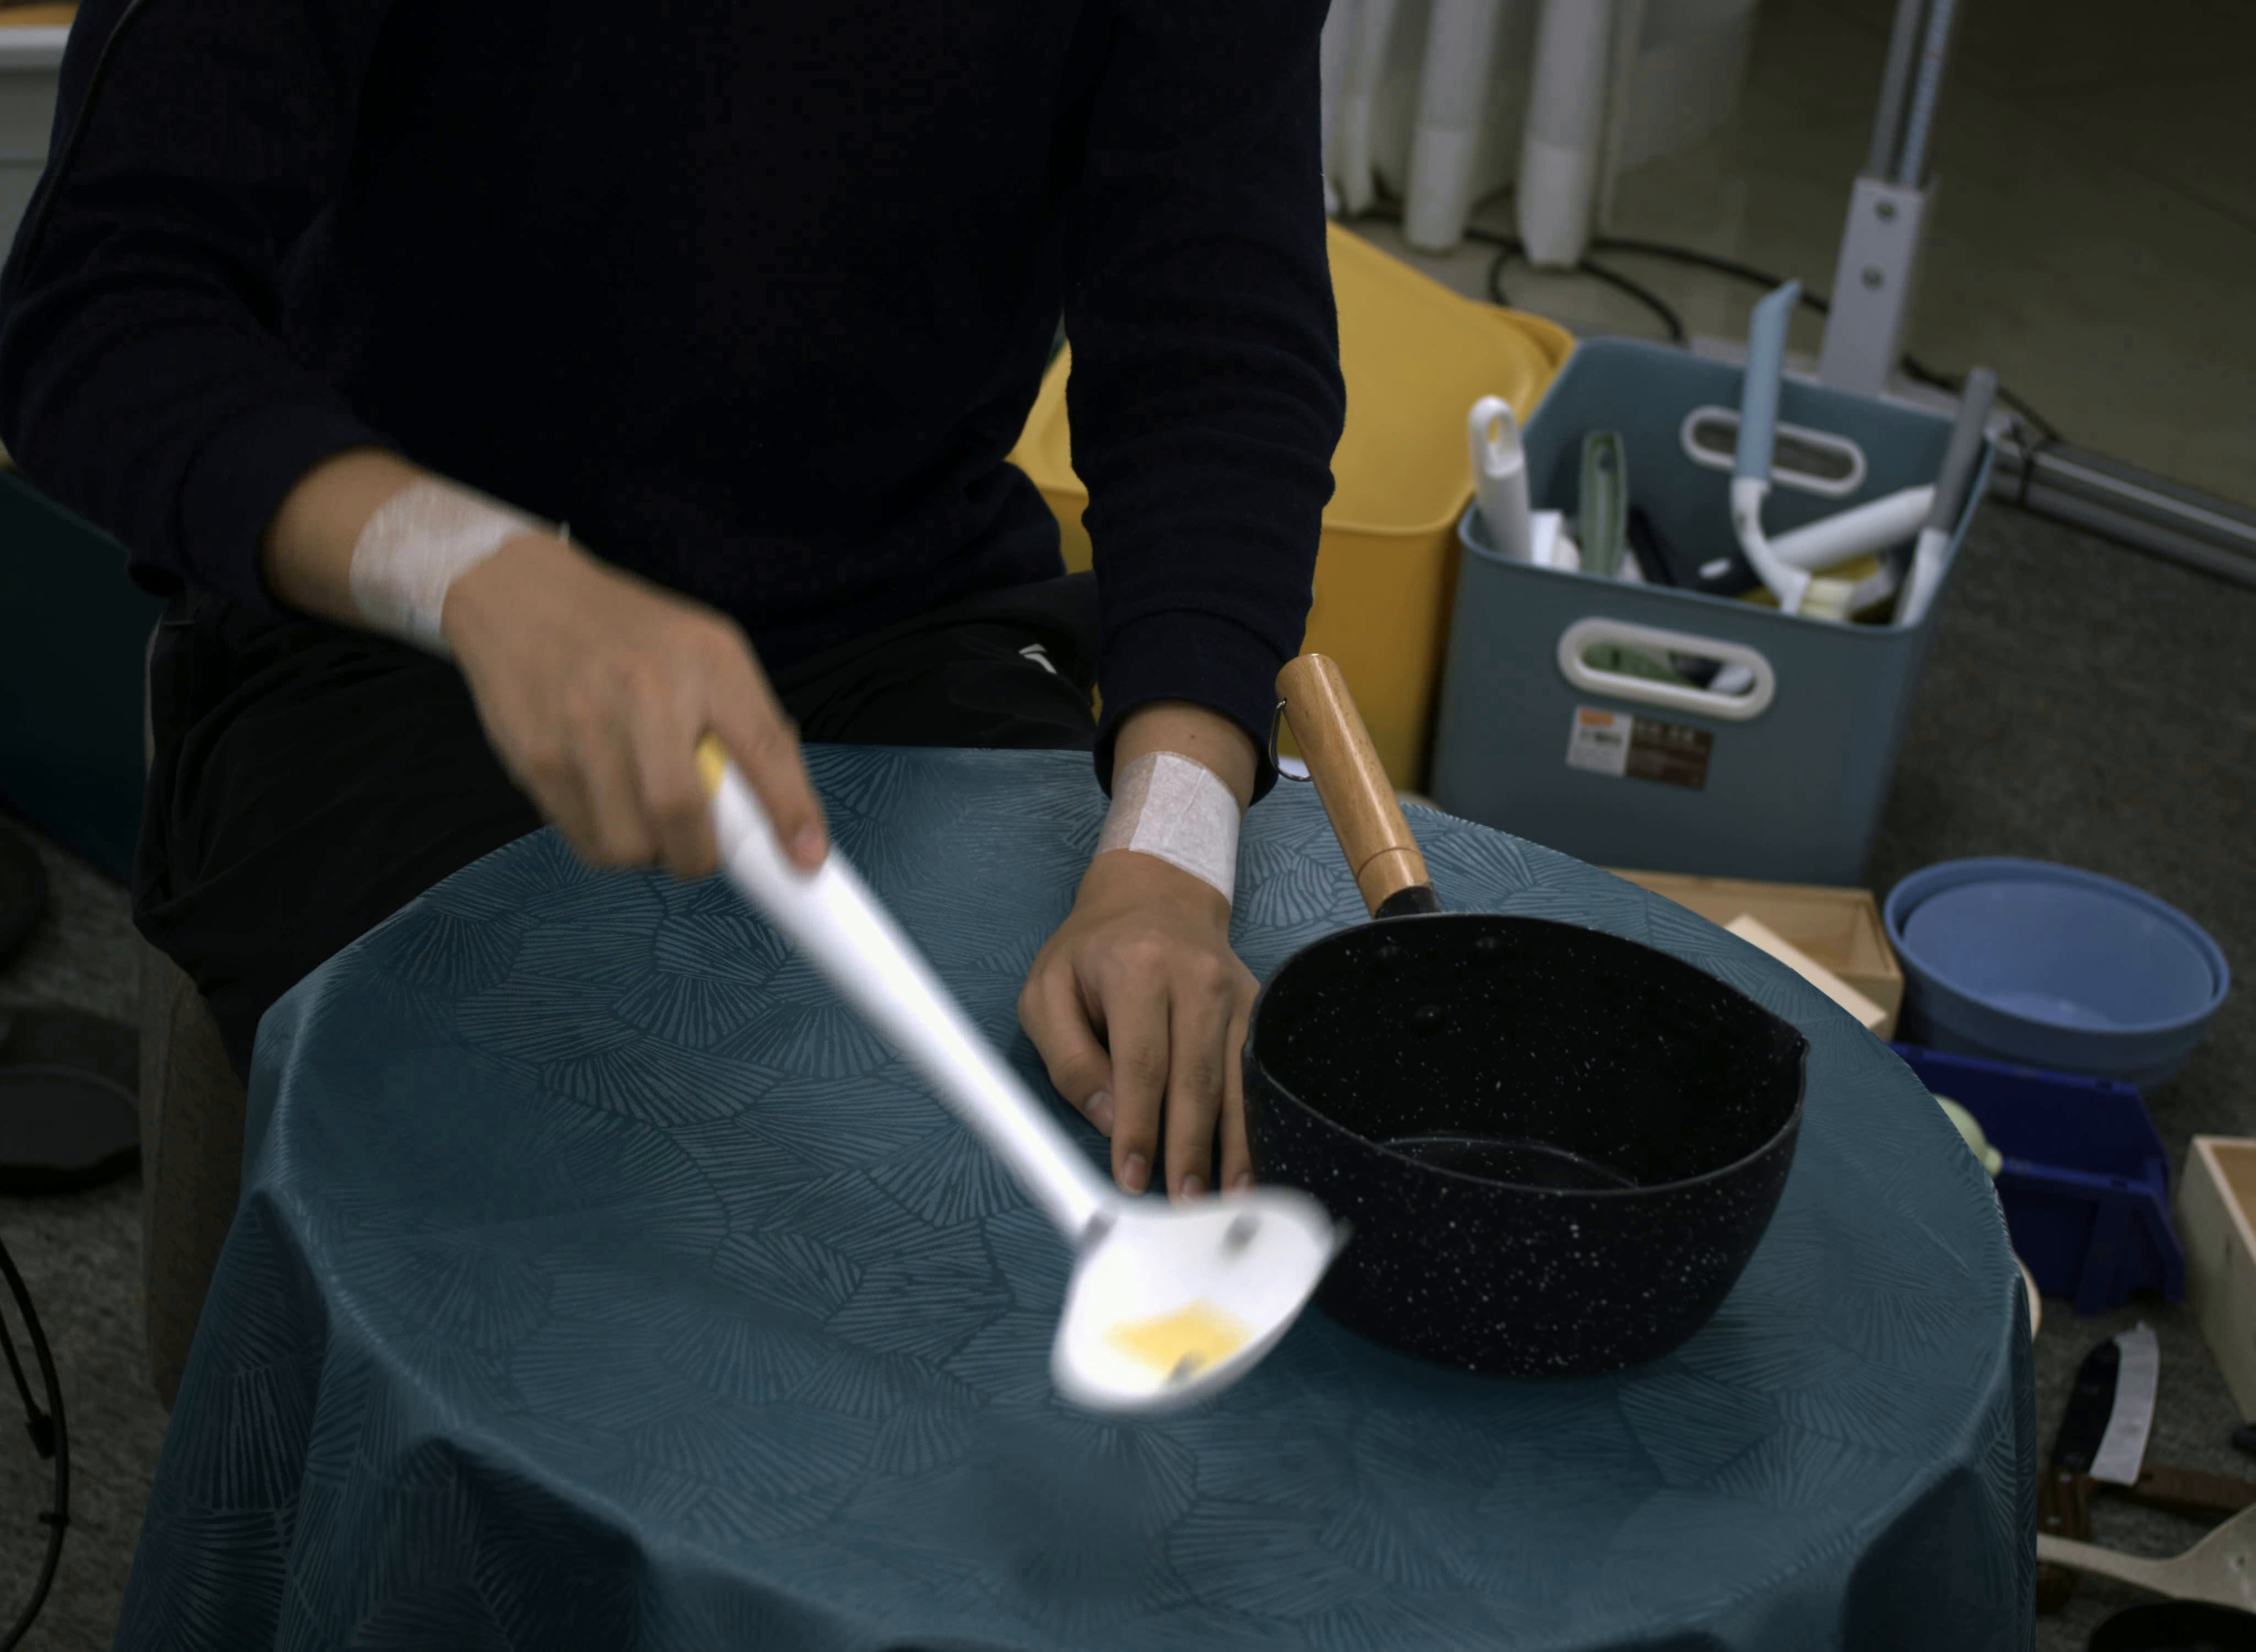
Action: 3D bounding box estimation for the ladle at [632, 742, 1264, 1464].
[{"bbox_3d":[-0.065,0.079,1.647,0.090,0.069,0.295,-38,66,-5],"label":"ladle"}]

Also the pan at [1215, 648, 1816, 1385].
[{"bbox_3d":[0.105,0.062,1.829,0.206,0.108,0.346,-4,30,-17],"label":"pan"}]
